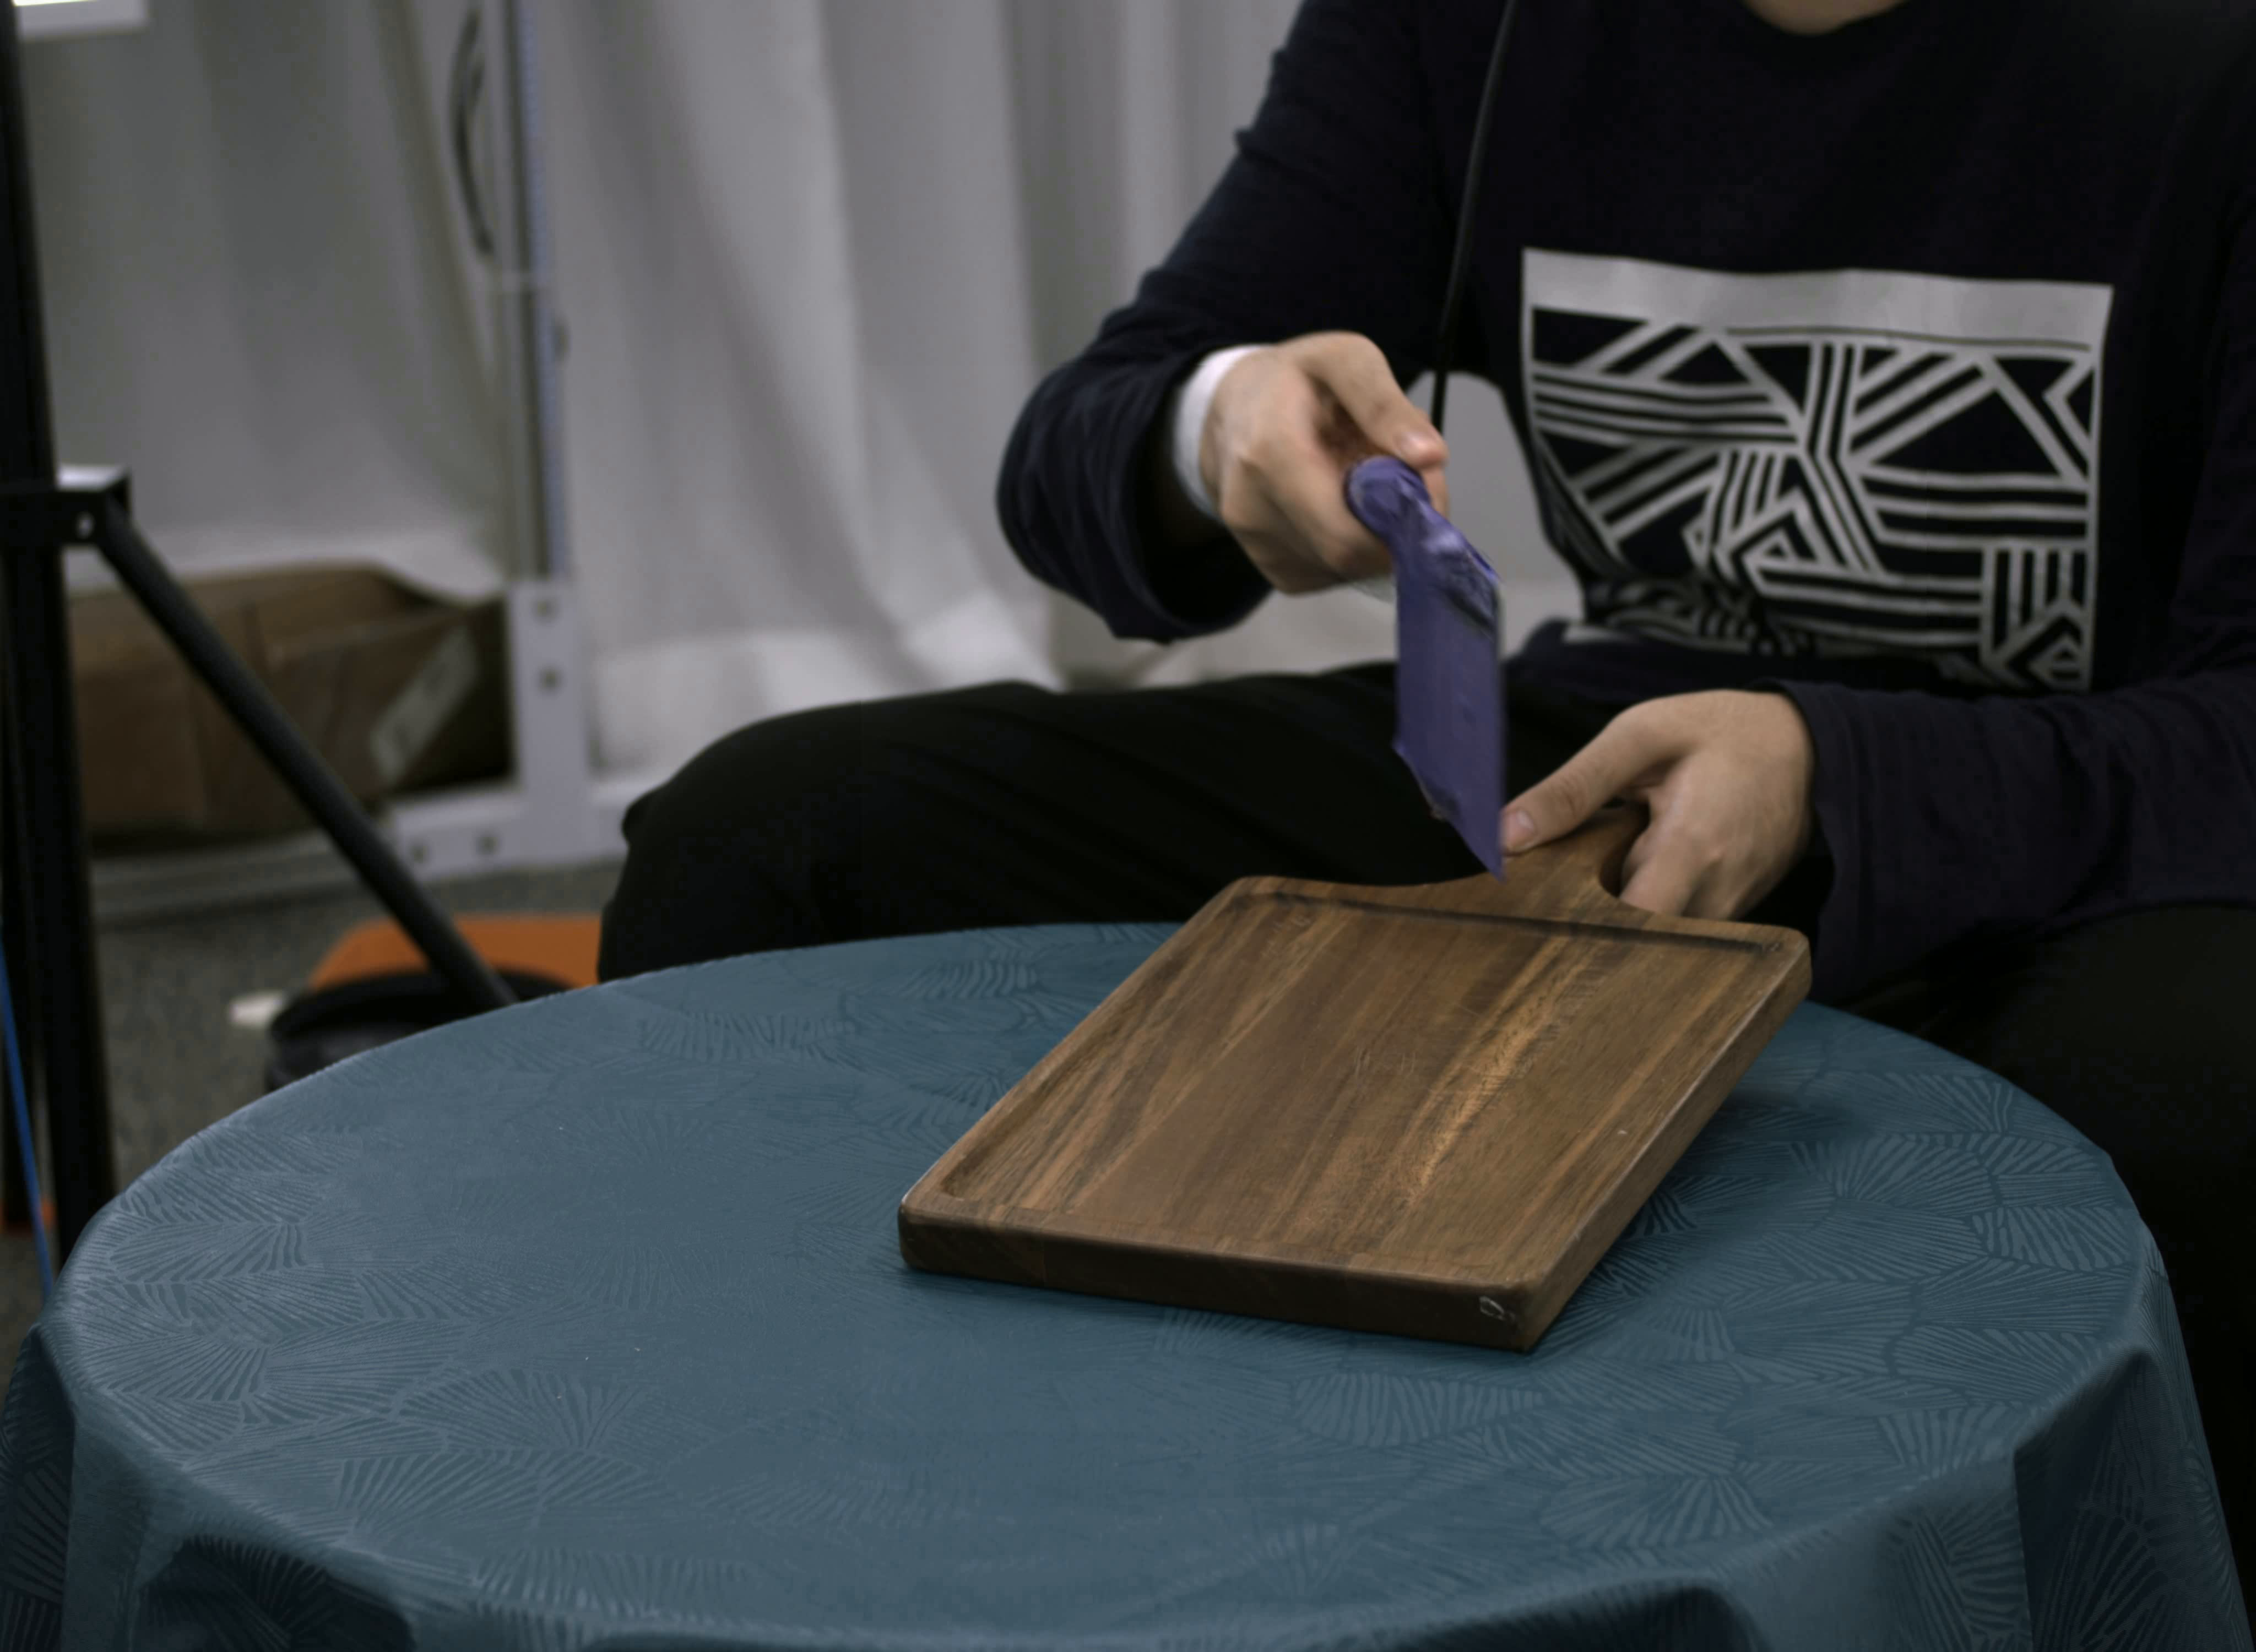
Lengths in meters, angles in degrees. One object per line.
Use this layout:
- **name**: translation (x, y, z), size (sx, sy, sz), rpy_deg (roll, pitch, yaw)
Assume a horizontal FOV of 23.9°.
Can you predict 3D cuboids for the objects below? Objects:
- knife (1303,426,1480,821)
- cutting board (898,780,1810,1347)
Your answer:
- **knife**: translation (0.081, -0.064, 1.631), size (0.032, 0.104, 0.316), rpy_deg (0, 10, -3)
- **cutting board**: translation (0.092, 0.060, 1.602), size (0.204, 0.023, 0.348), rpy_deg (5, 24, 26)
